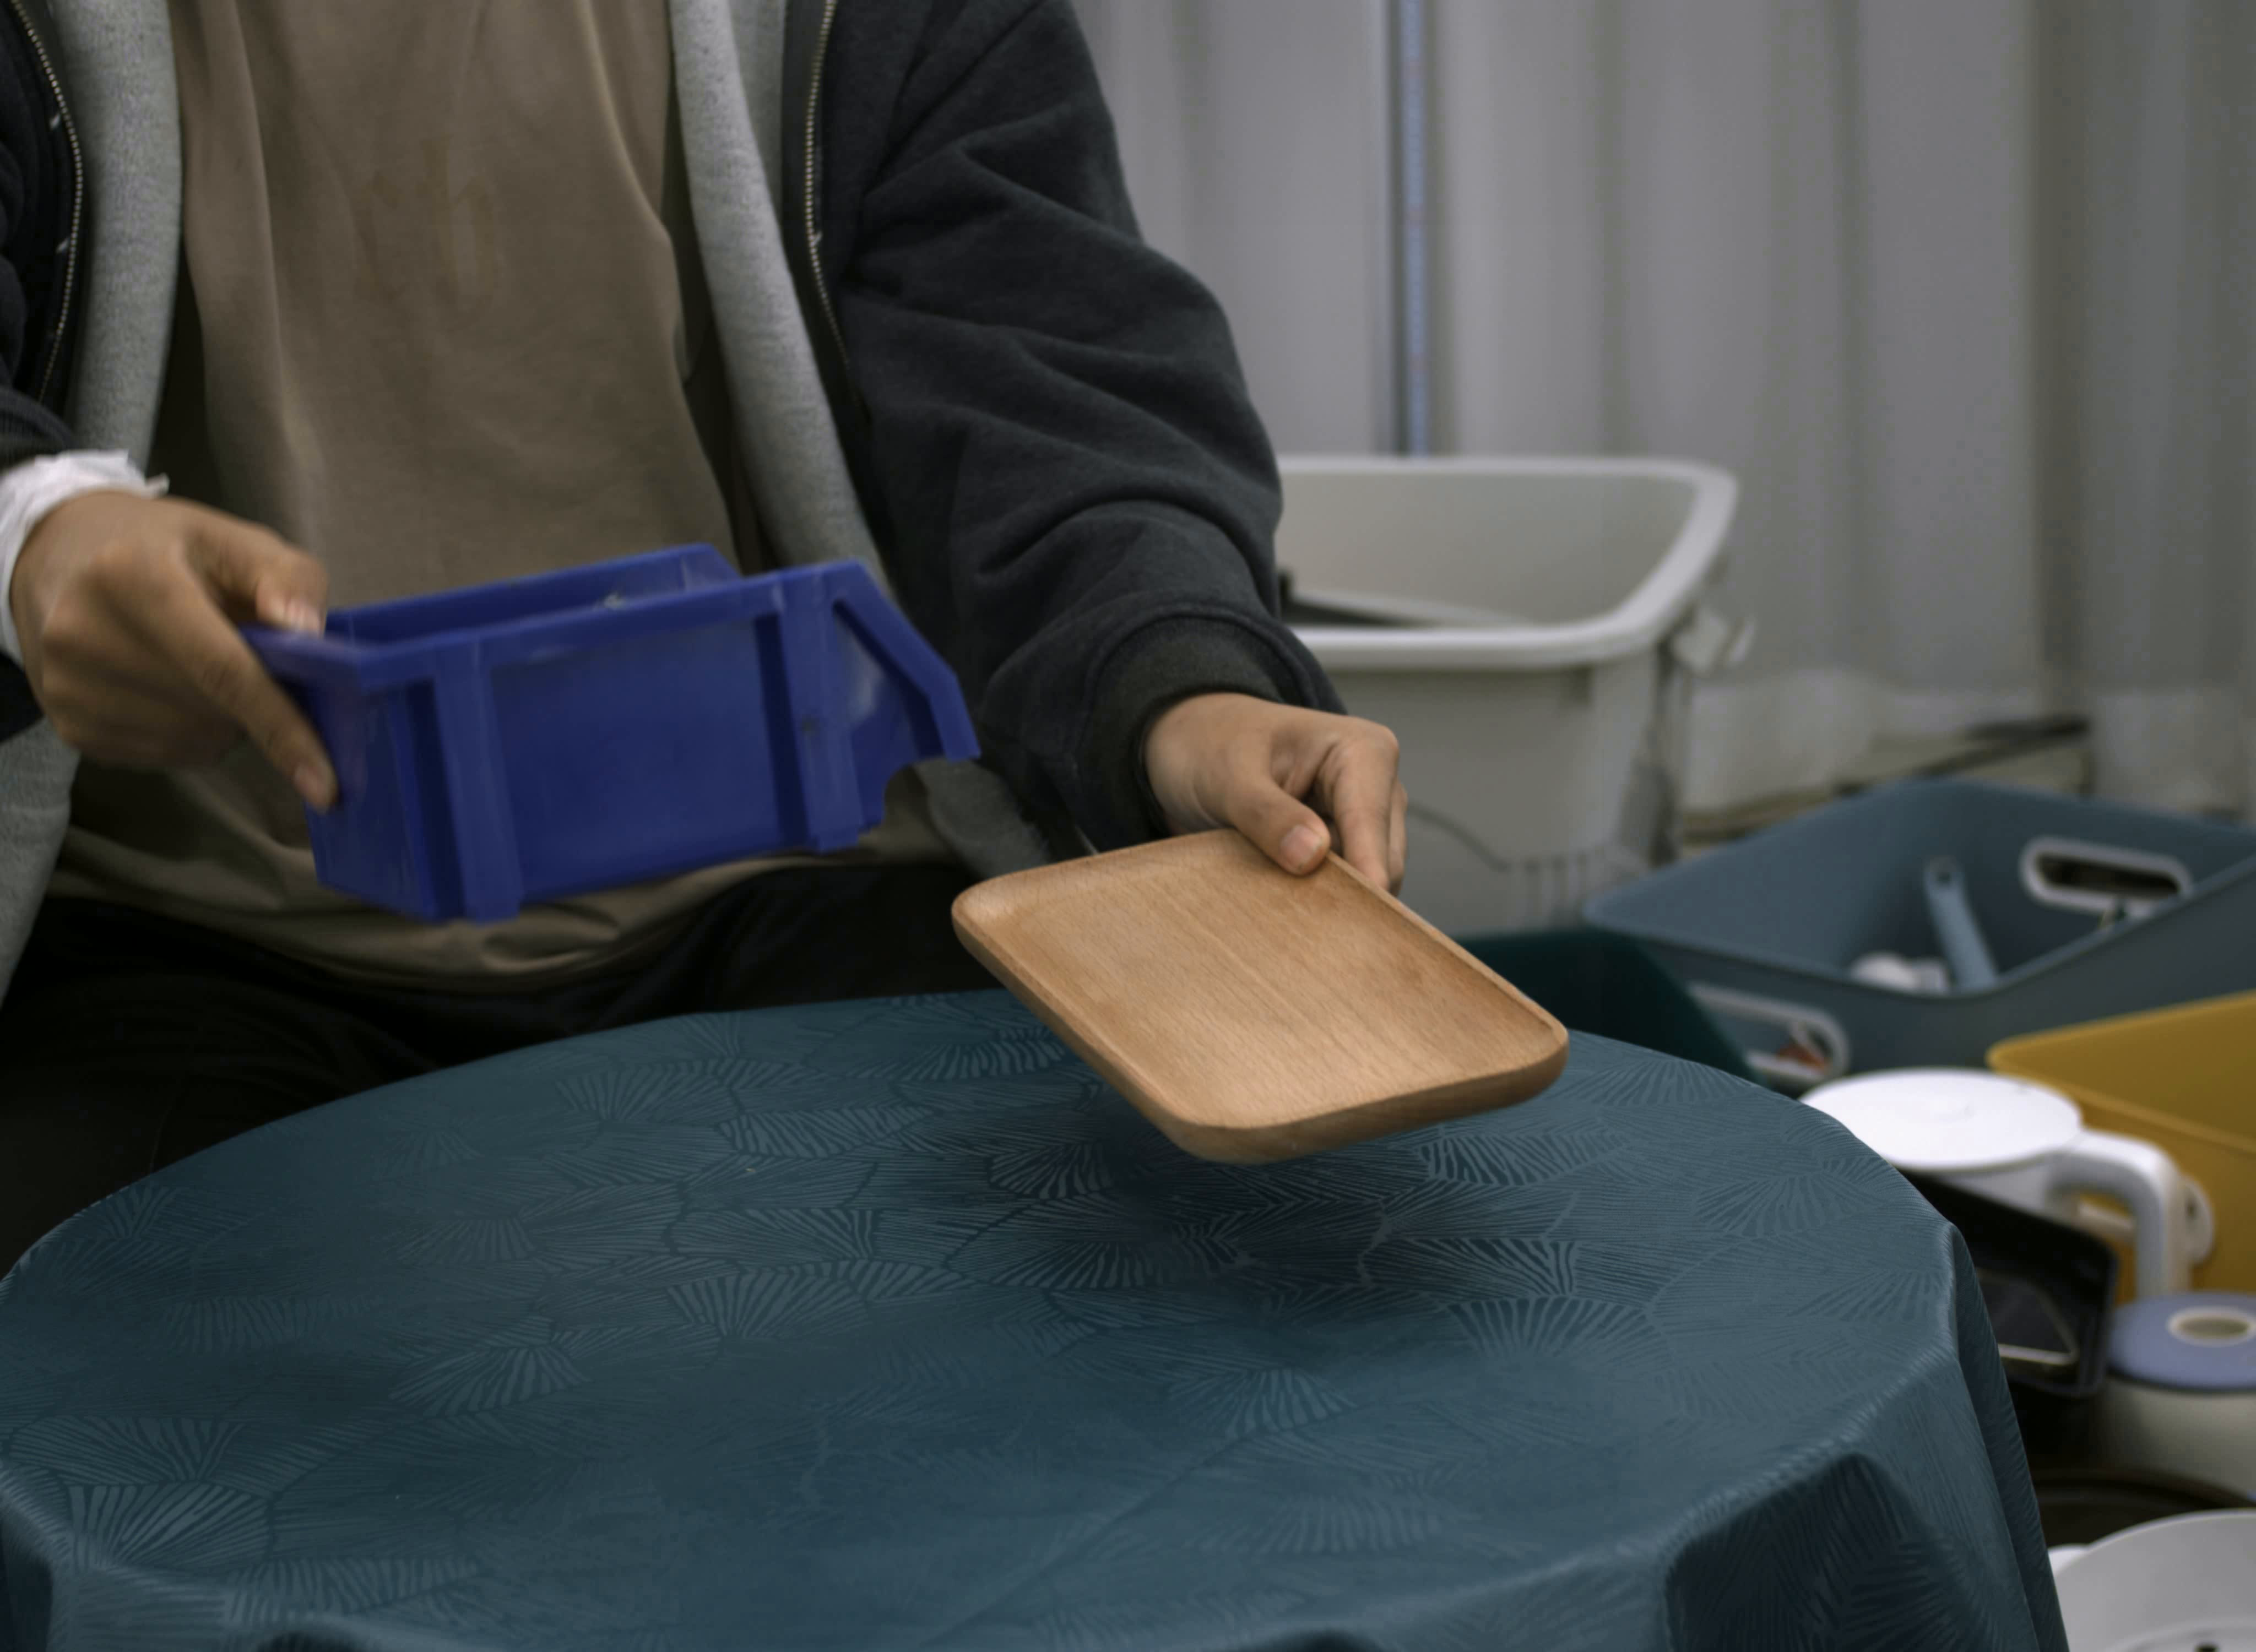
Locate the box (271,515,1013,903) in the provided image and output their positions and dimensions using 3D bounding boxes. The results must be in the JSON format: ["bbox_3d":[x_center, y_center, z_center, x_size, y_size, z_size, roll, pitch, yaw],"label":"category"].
[{"bbox_3d":[-0.141,-0.038,1.590,0.179,0.082,0.125,-14,11,-23],"label":"box"}]

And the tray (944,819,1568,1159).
[{"bbox_3d":[0.035,0.048,1.689,0.130,0.023,0.253,-9,18,-17],"label":"tray"}]
